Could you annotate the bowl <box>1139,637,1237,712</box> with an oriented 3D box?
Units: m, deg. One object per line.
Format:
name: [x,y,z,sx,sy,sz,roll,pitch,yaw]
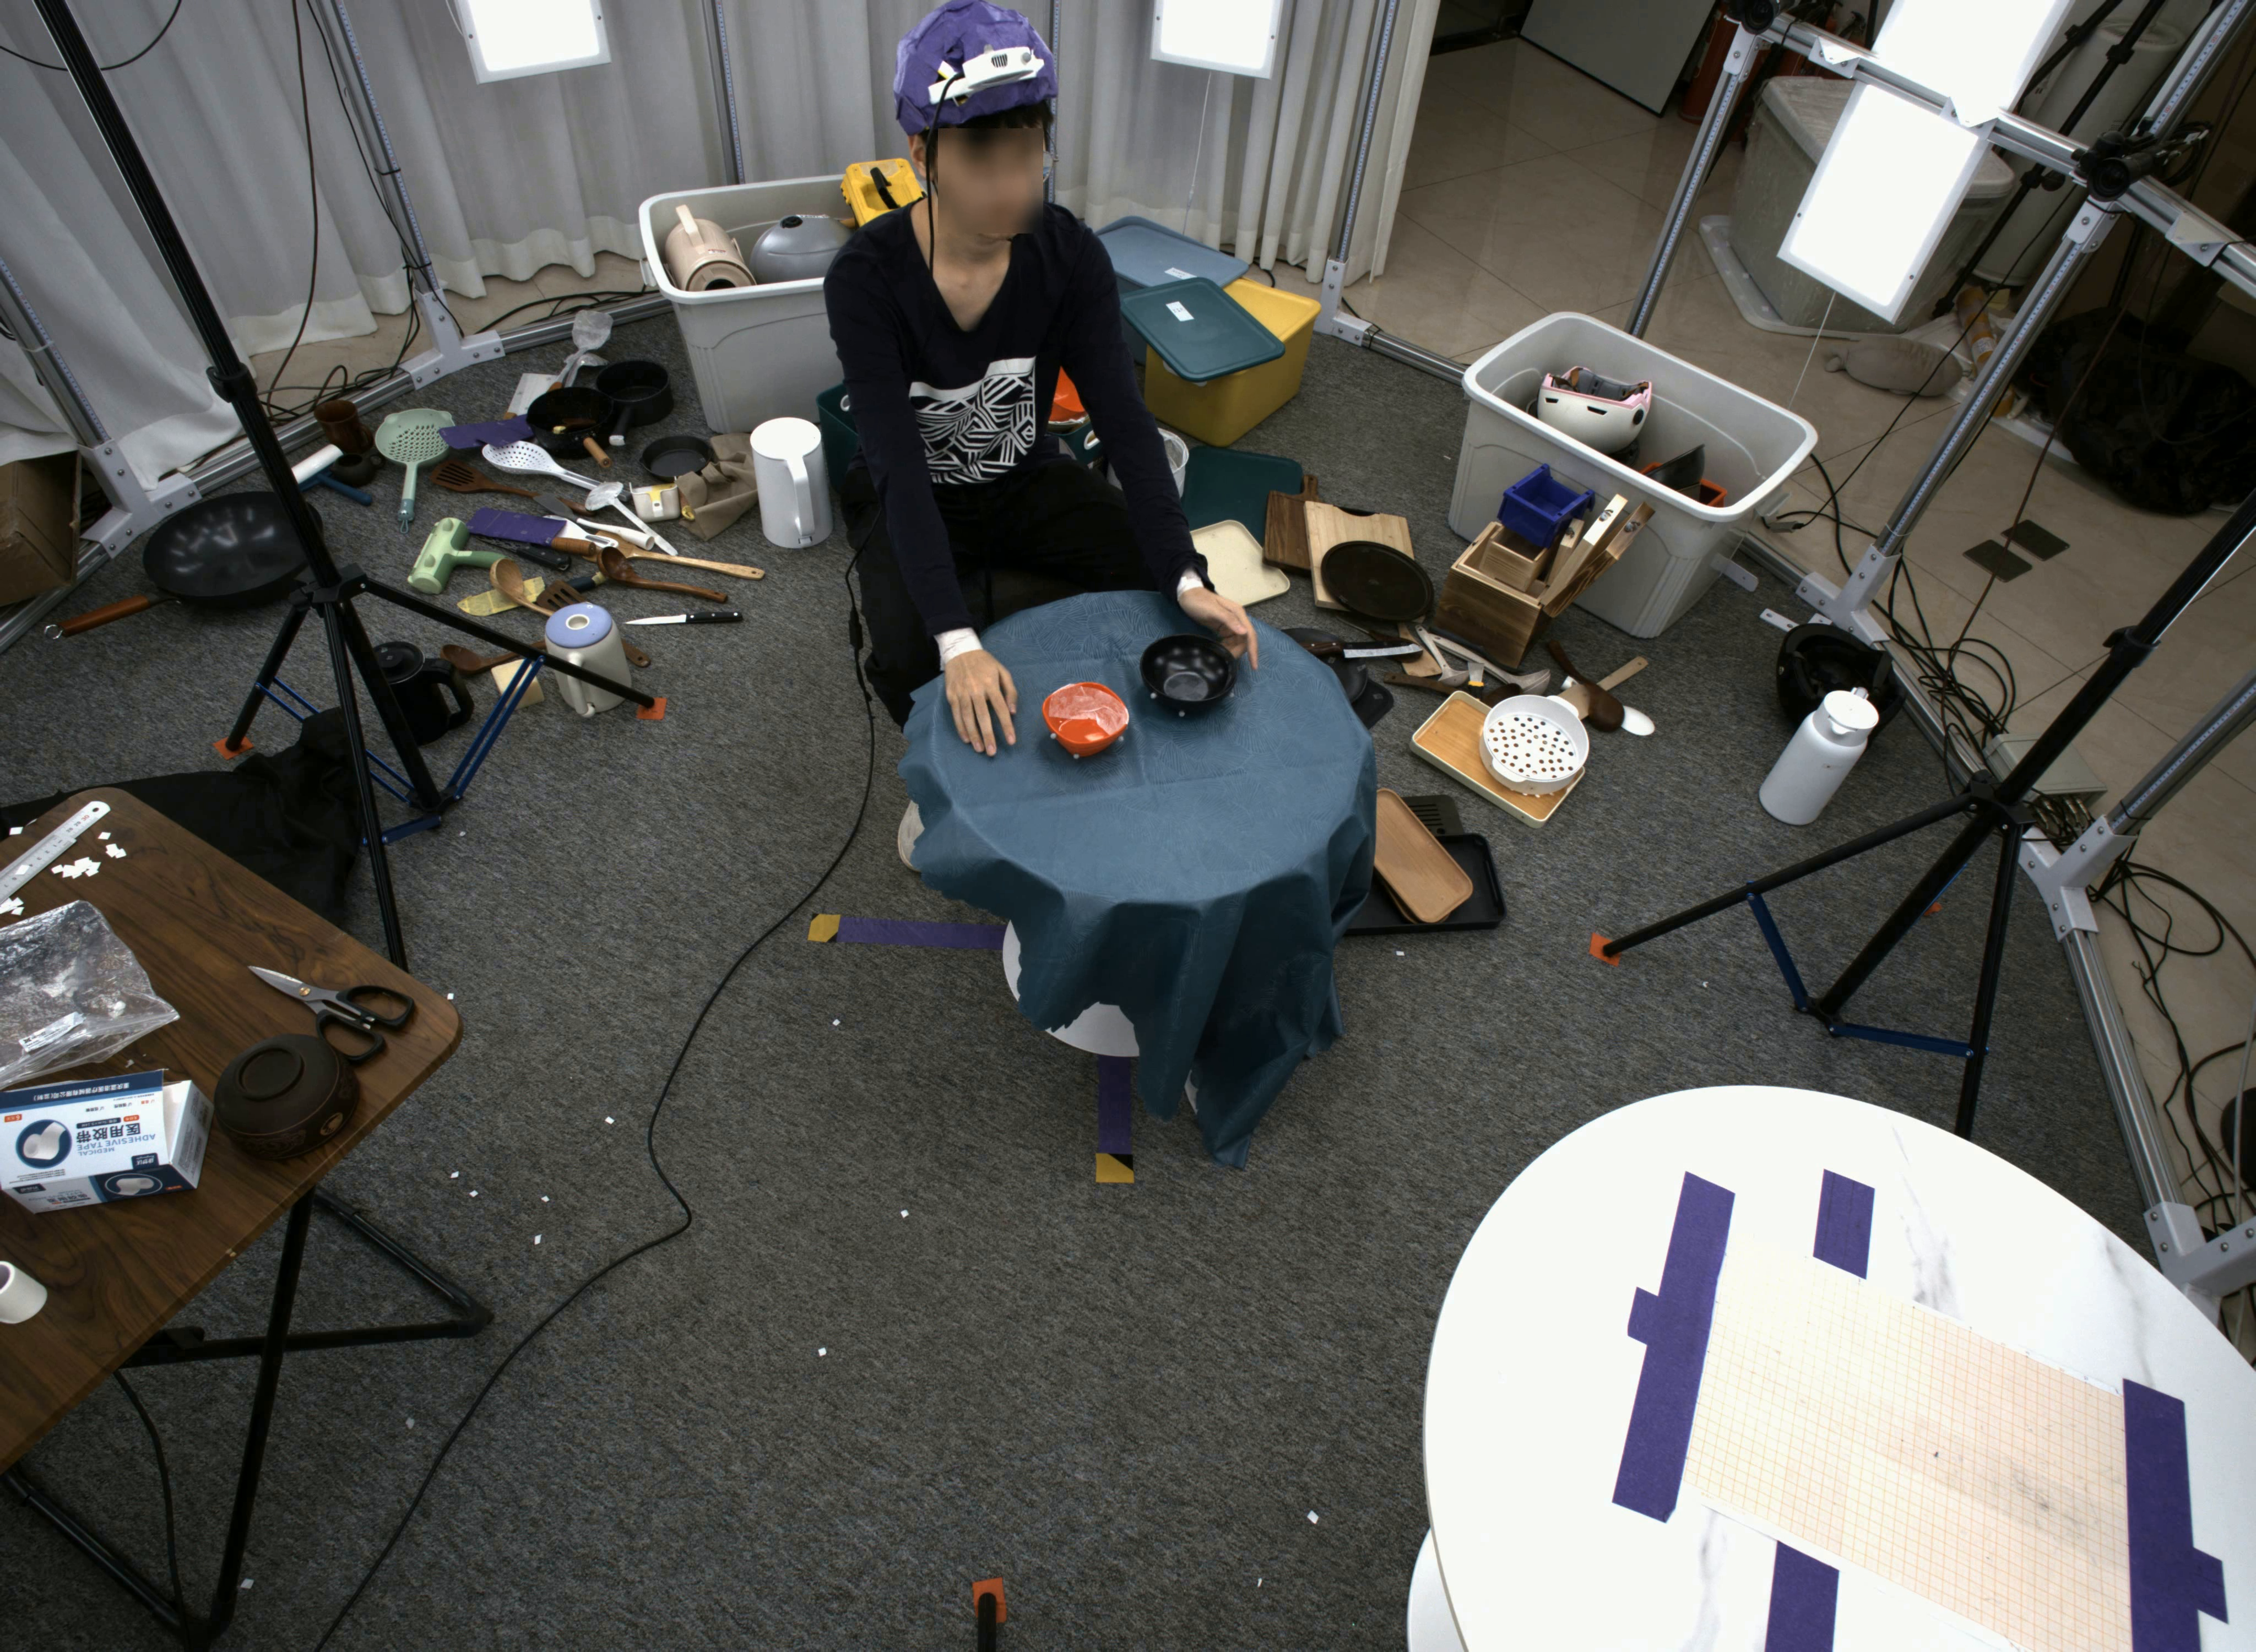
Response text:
bowl: [0.084,-0.207,1.825,0.140,0.048,0.143,1,45,-1]

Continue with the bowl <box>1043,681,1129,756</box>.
bowl: [-0.059,-0.140,1.751,0.119,0.050,0.122,2,51,-3]
